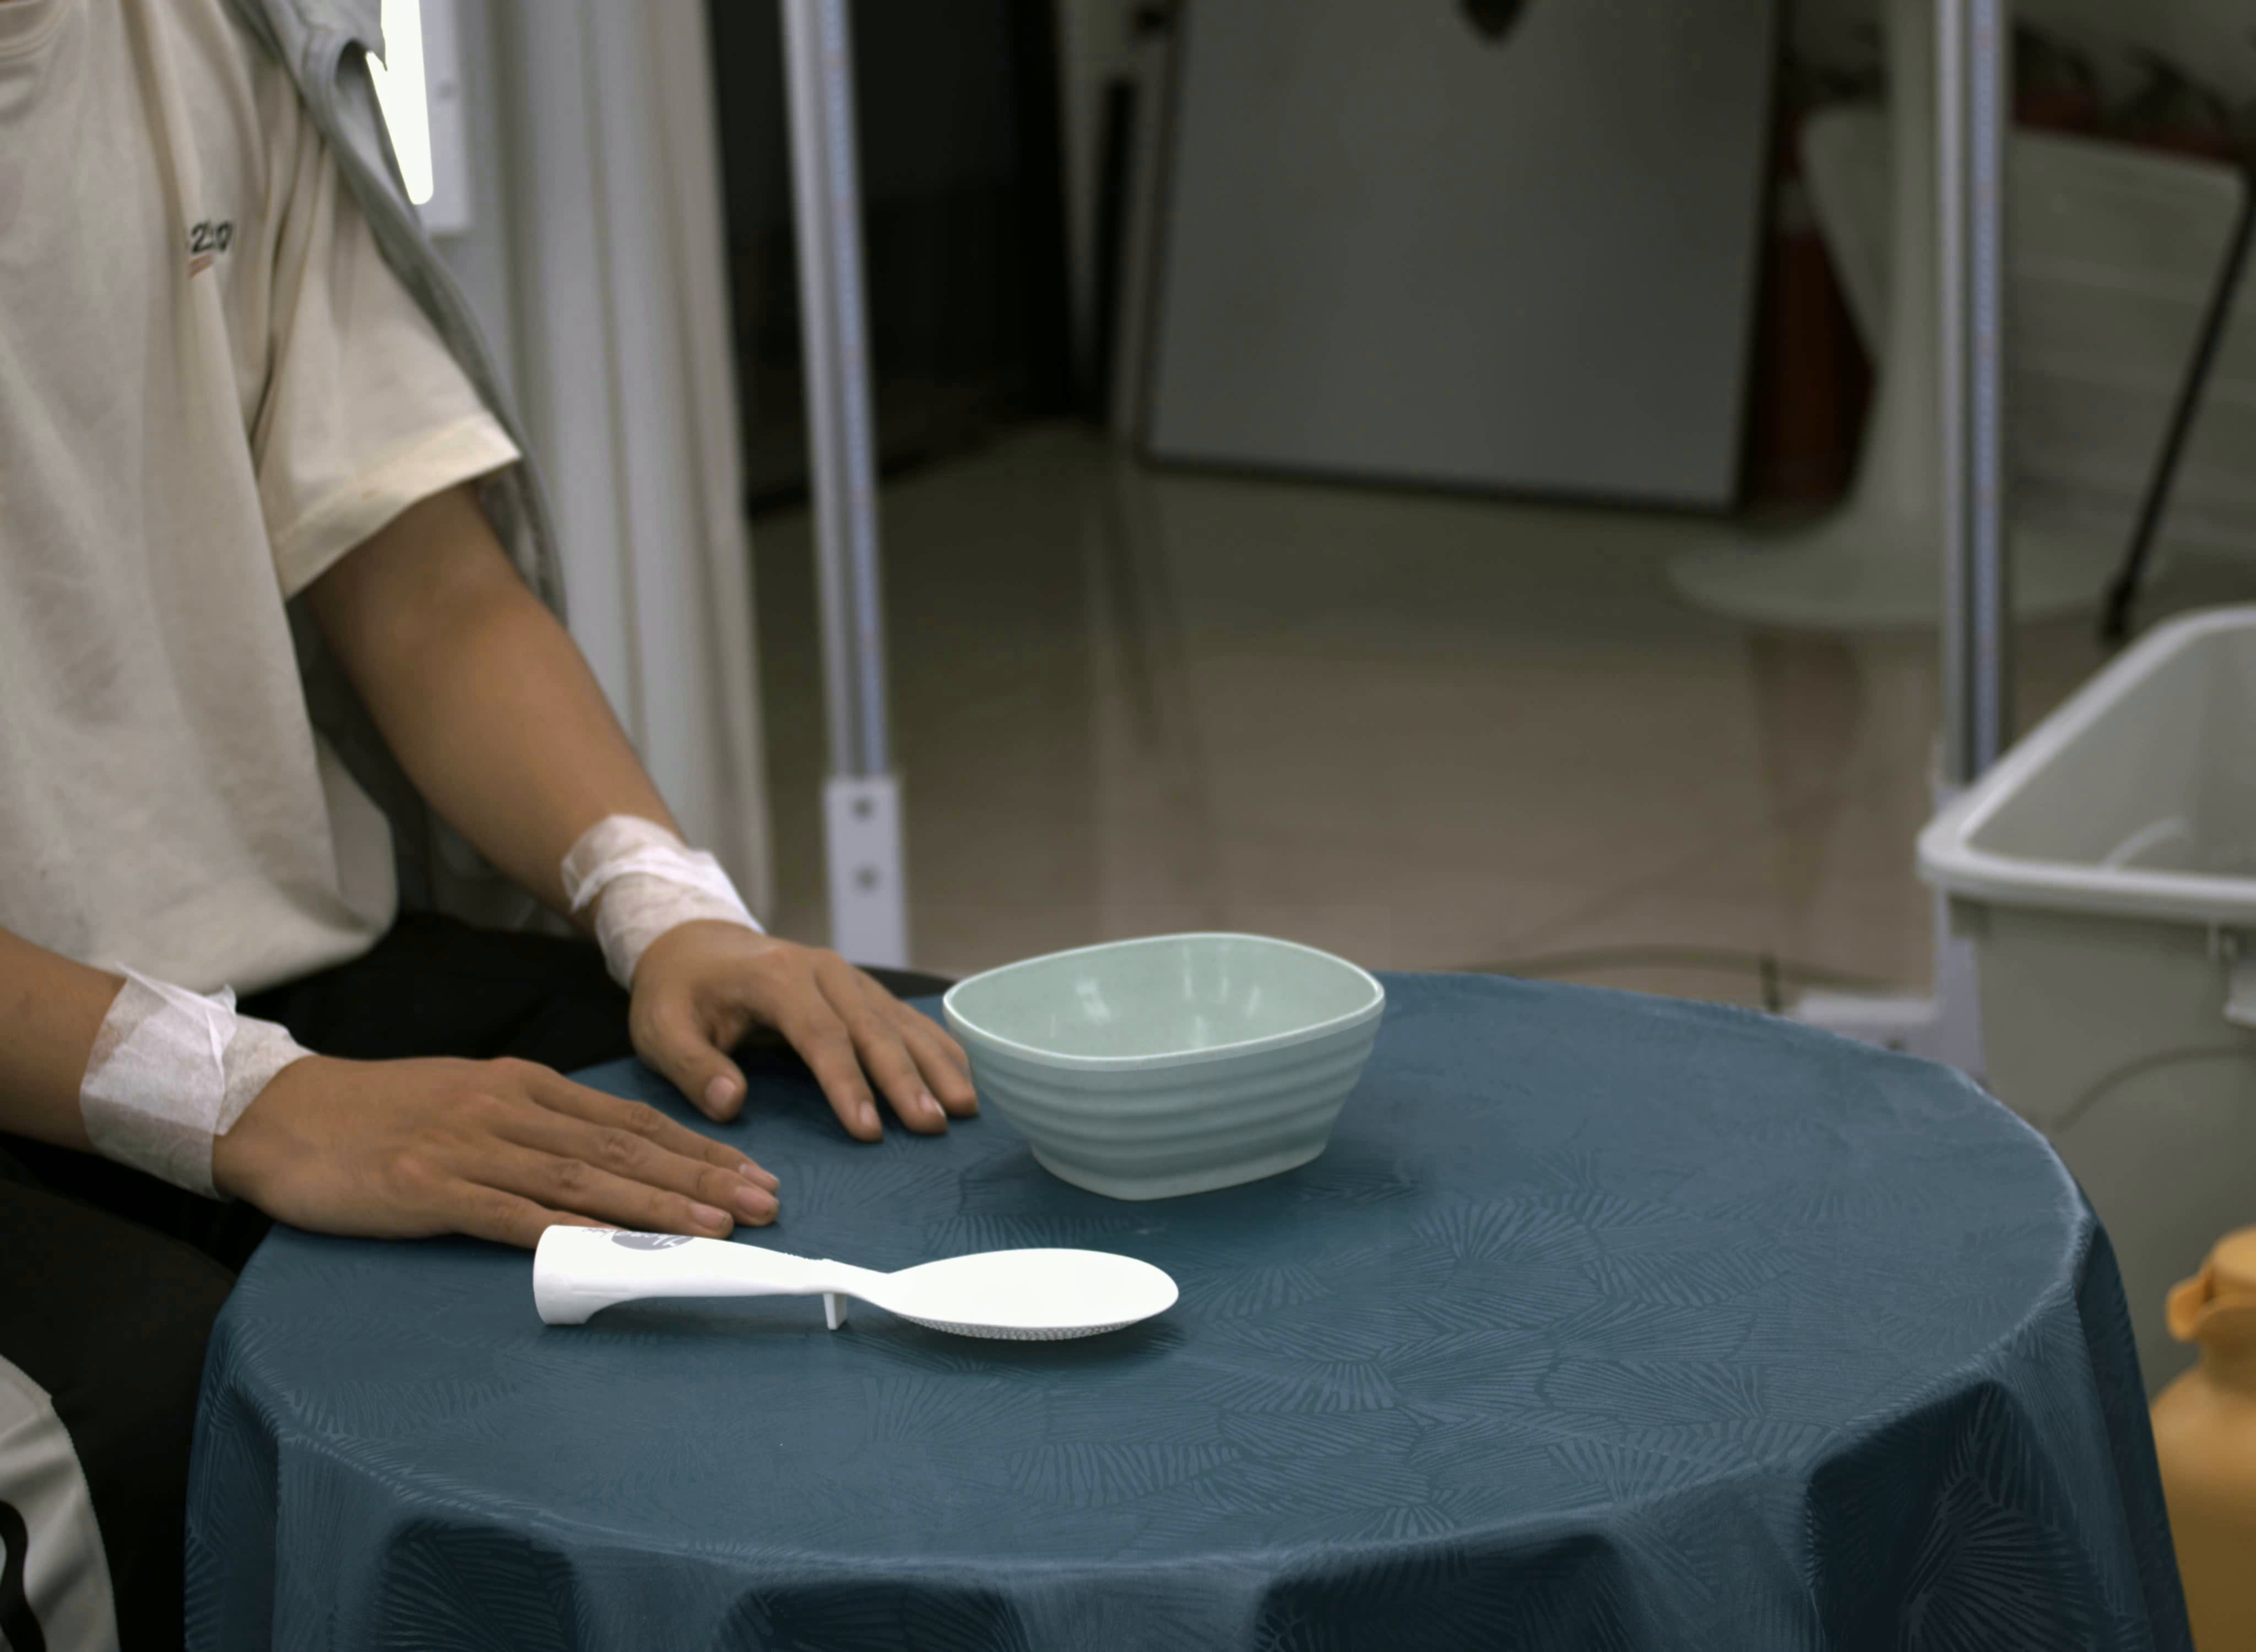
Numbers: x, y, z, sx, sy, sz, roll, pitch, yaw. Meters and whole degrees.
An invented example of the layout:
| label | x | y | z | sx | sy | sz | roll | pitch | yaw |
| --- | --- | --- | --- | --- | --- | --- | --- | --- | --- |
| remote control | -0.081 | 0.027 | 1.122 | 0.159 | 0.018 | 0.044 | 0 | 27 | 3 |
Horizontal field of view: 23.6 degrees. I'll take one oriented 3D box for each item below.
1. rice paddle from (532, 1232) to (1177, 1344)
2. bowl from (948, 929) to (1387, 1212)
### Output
| label | x | y | z | sx | sy | sz | roll | pitch | yaw |
| --- | --- | --- | --- | --- | --- | --- | --- | --- | --- |
| rice paddle | -0.083 | 0.141 | 1.658 | 0.204 | 0.030 | 0.068 | 0 | 16 | 16 |
| bowl | 0.014 | 0.085 | 1.802 | 0.149 | 0.059 | 0.152 | -3 | 16 | 0 |
